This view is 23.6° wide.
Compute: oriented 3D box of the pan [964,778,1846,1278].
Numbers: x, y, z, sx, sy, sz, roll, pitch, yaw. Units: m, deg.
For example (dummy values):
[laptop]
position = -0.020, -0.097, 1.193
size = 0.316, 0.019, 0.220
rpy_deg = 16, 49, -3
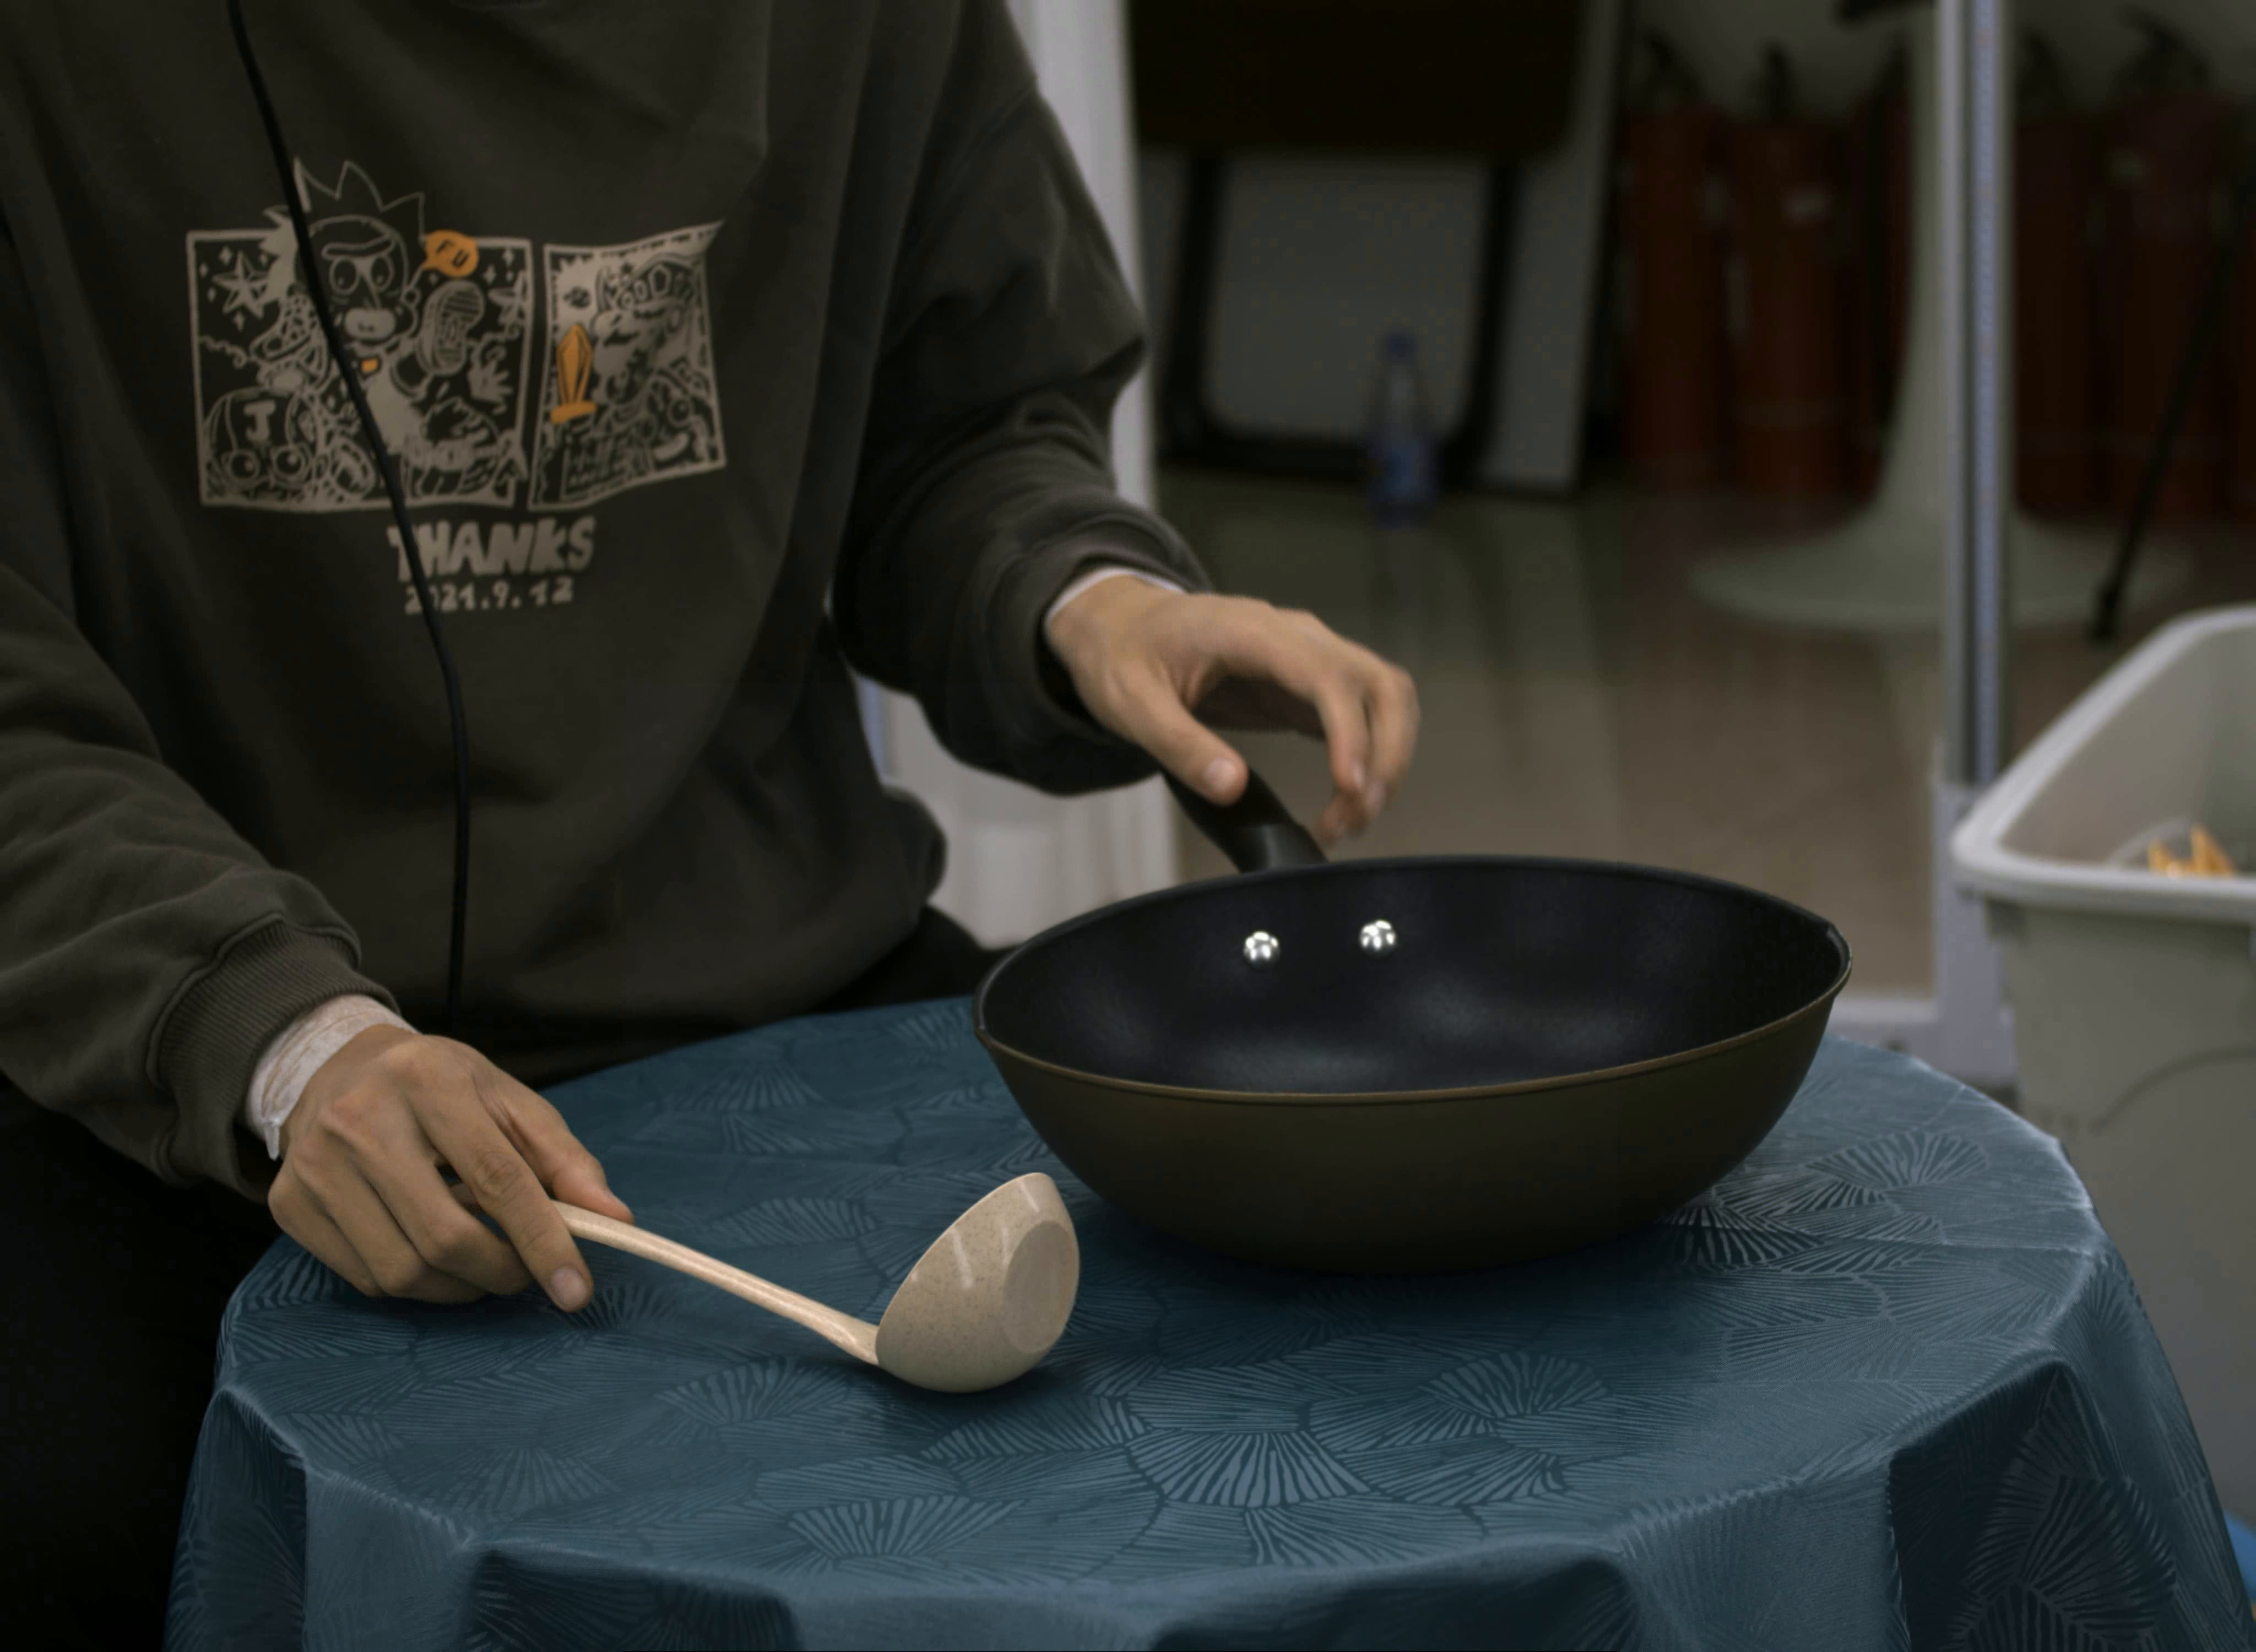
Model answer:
[pan]
position = 0.072, 0.065, 1.814
size = 0.283, 0.088, 0.466
rpy_deg = -7, 13, -10

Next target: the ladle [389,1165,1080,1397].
[ladle]
position = -0.127, 0.113, 1.645
size = 0.256, 0.073, 0.071
rpy_deg = 14, 21, 33
